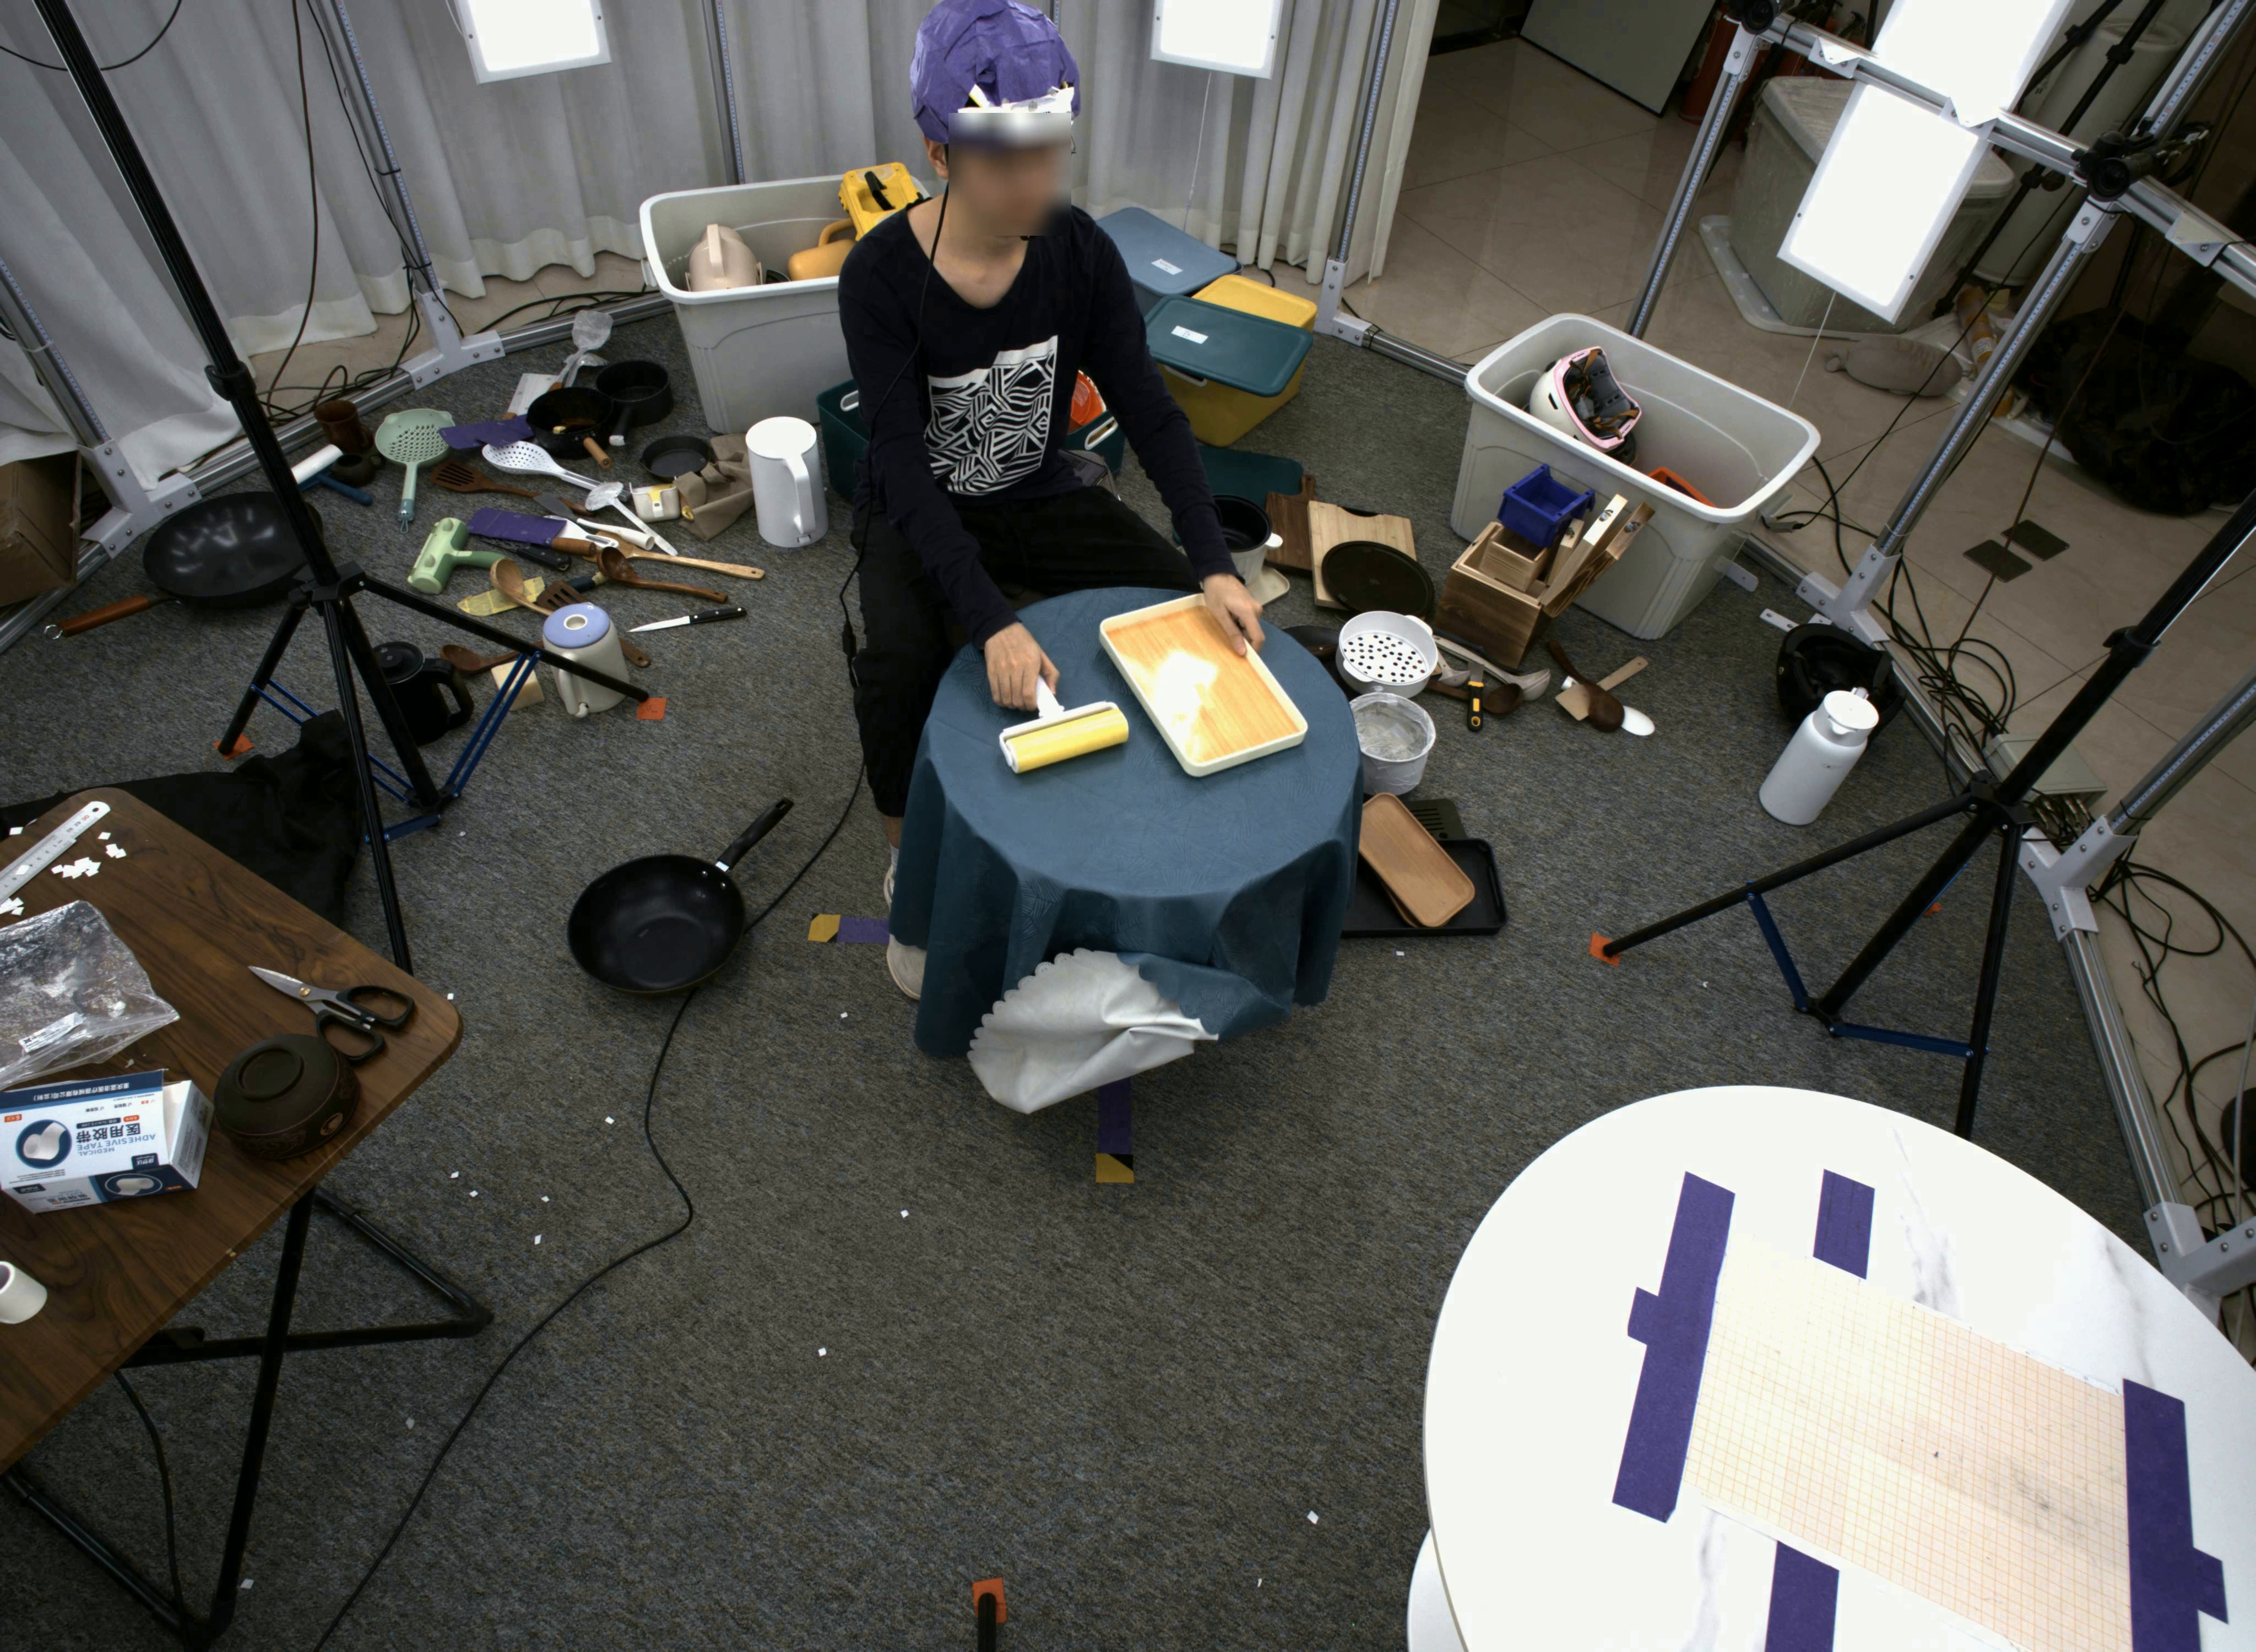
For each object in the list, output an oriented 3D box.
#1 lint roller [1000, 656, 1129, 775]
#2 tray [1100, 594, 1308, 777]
[{"bbox_3d":[-0.112,-0.171,1.764,0.174,0.050,0.196,-18,62,-19],"label":"lint roller"},{"bbox_3d":[0.104,-0.206,1.822,0.192,0.027,0.307,-18,56,-20],"label":"tray"}]
